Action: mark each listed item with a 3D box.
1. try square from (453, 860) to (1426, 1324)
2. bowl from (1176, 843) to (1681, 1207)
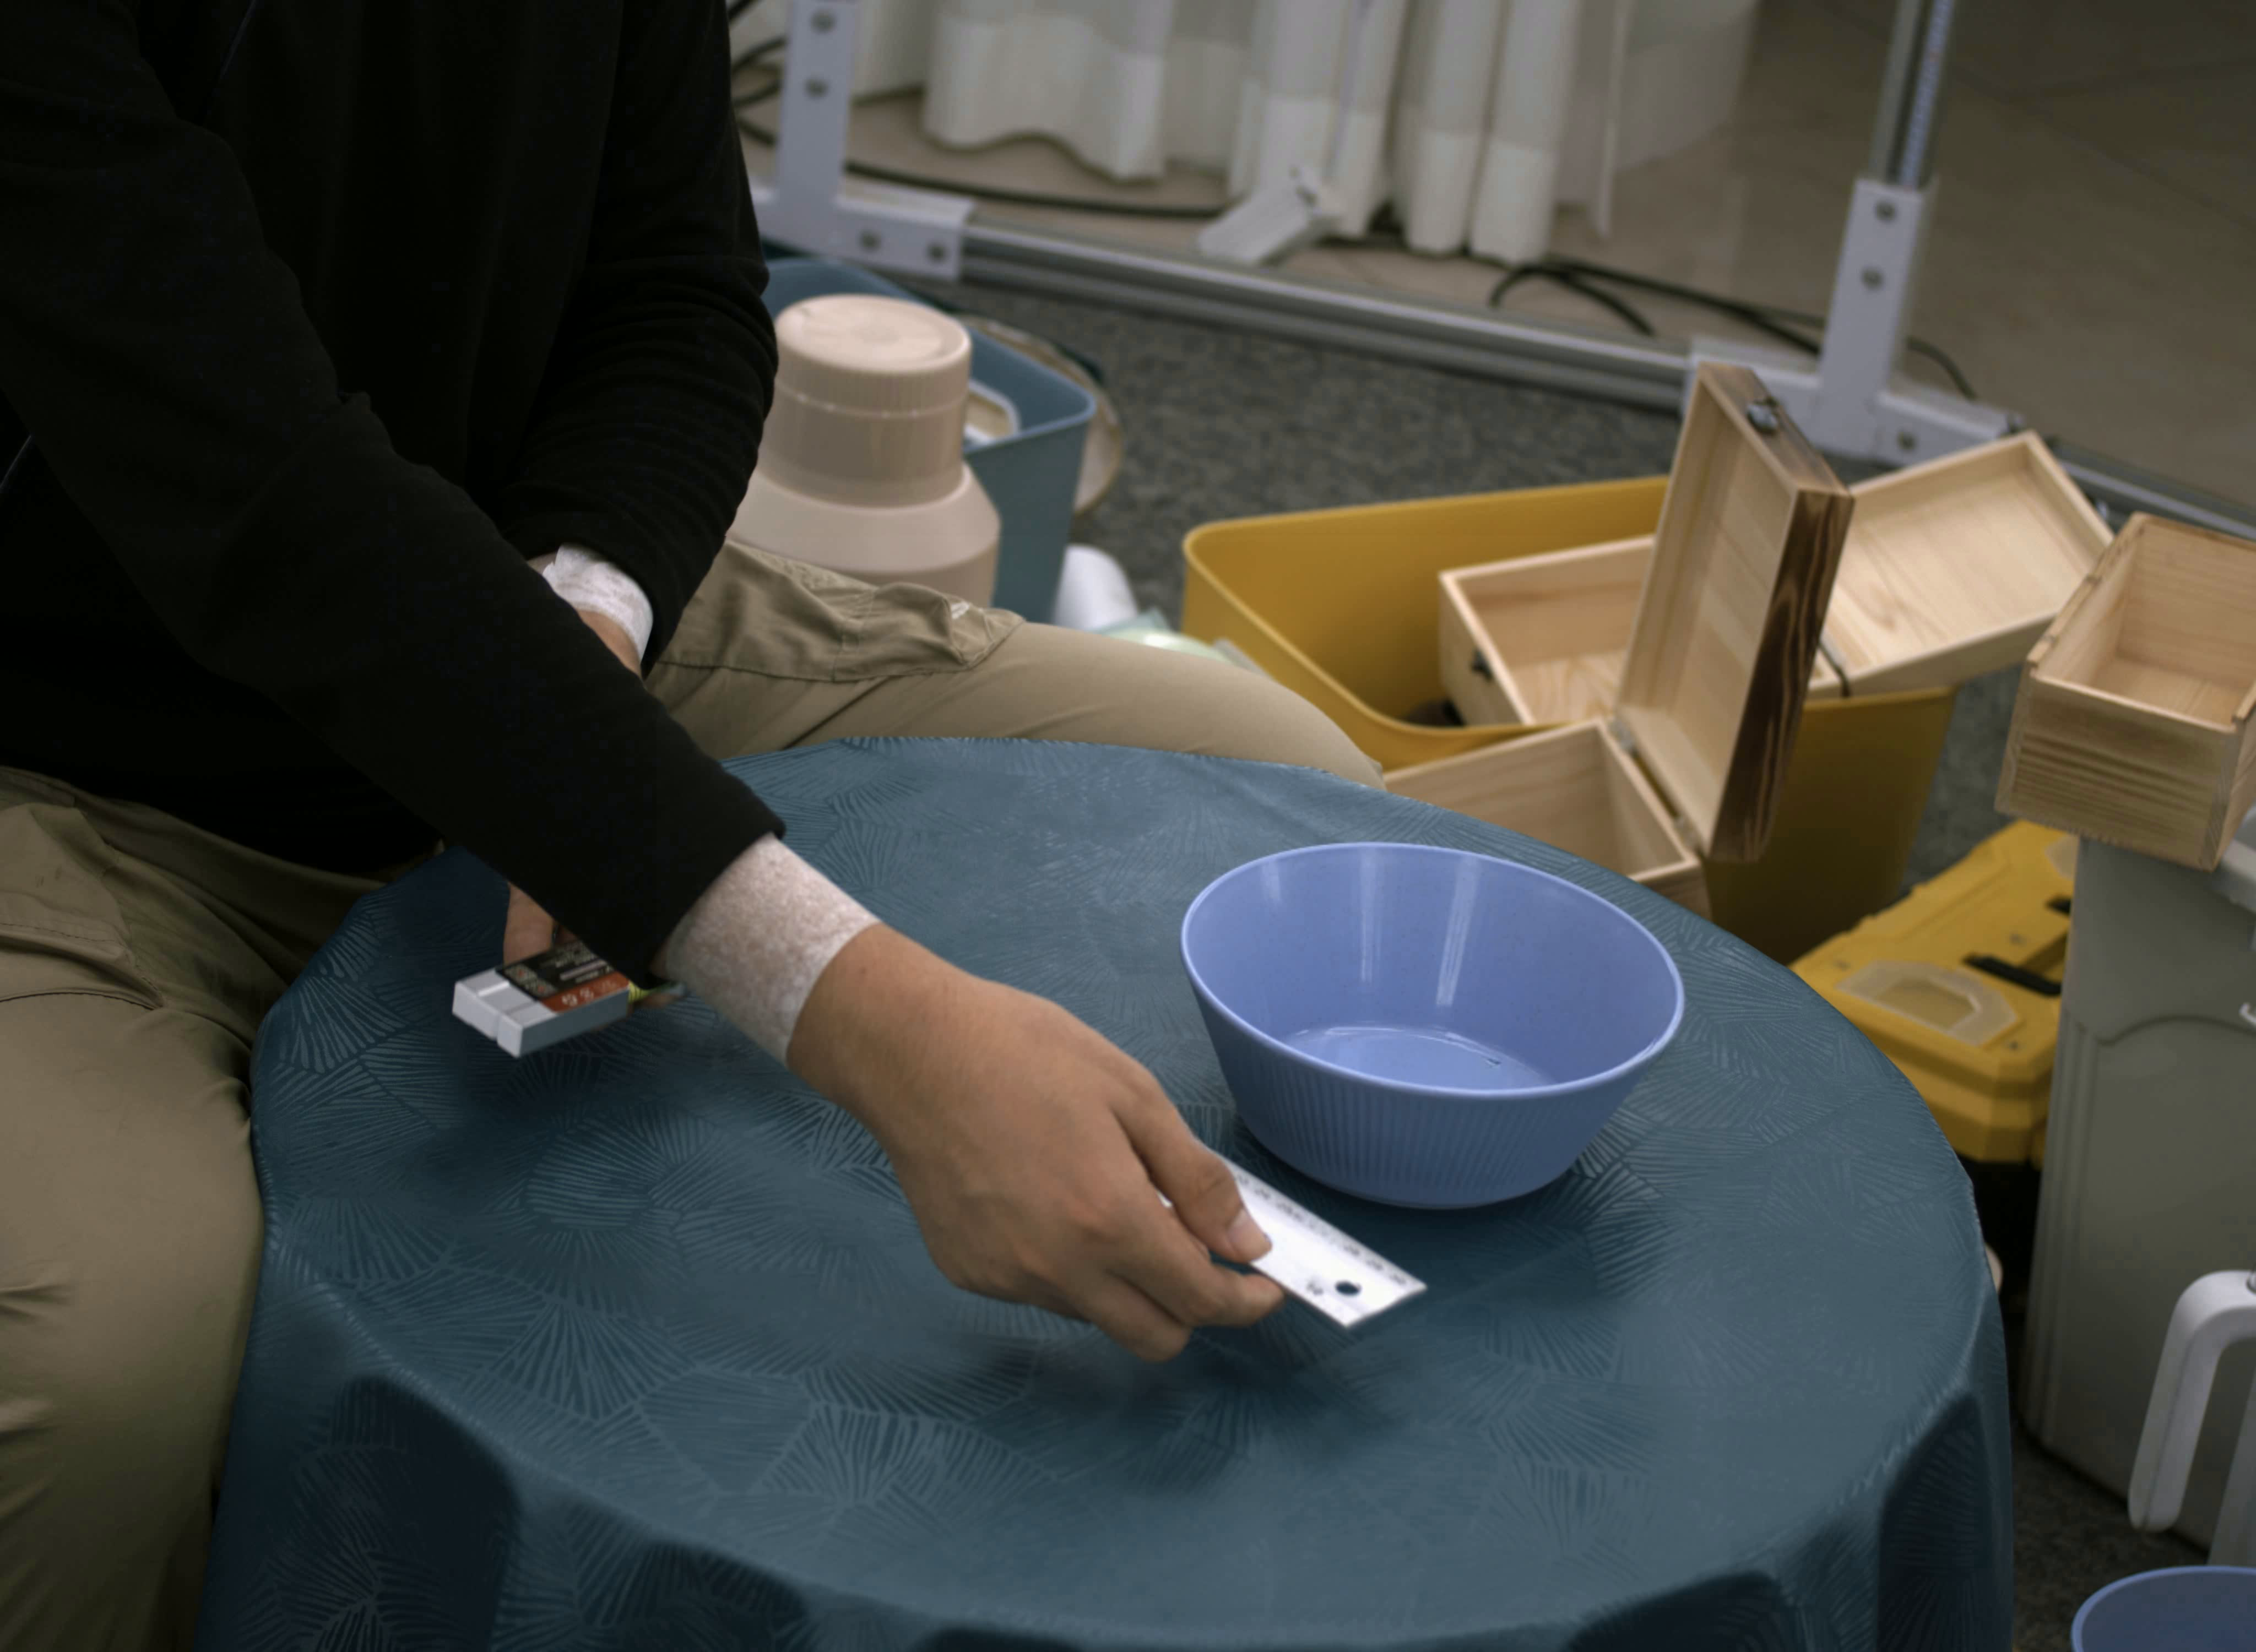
[{"bbox_3d":[-0.067,0.102,1.746,0.151,0.016,0.315,-24,42,-38],"label":"try square"},{"bbox_3d":[0.100,0.075,1.844,0.175,0.070,0.177,5,27,-3],"label":"bowl"}]
